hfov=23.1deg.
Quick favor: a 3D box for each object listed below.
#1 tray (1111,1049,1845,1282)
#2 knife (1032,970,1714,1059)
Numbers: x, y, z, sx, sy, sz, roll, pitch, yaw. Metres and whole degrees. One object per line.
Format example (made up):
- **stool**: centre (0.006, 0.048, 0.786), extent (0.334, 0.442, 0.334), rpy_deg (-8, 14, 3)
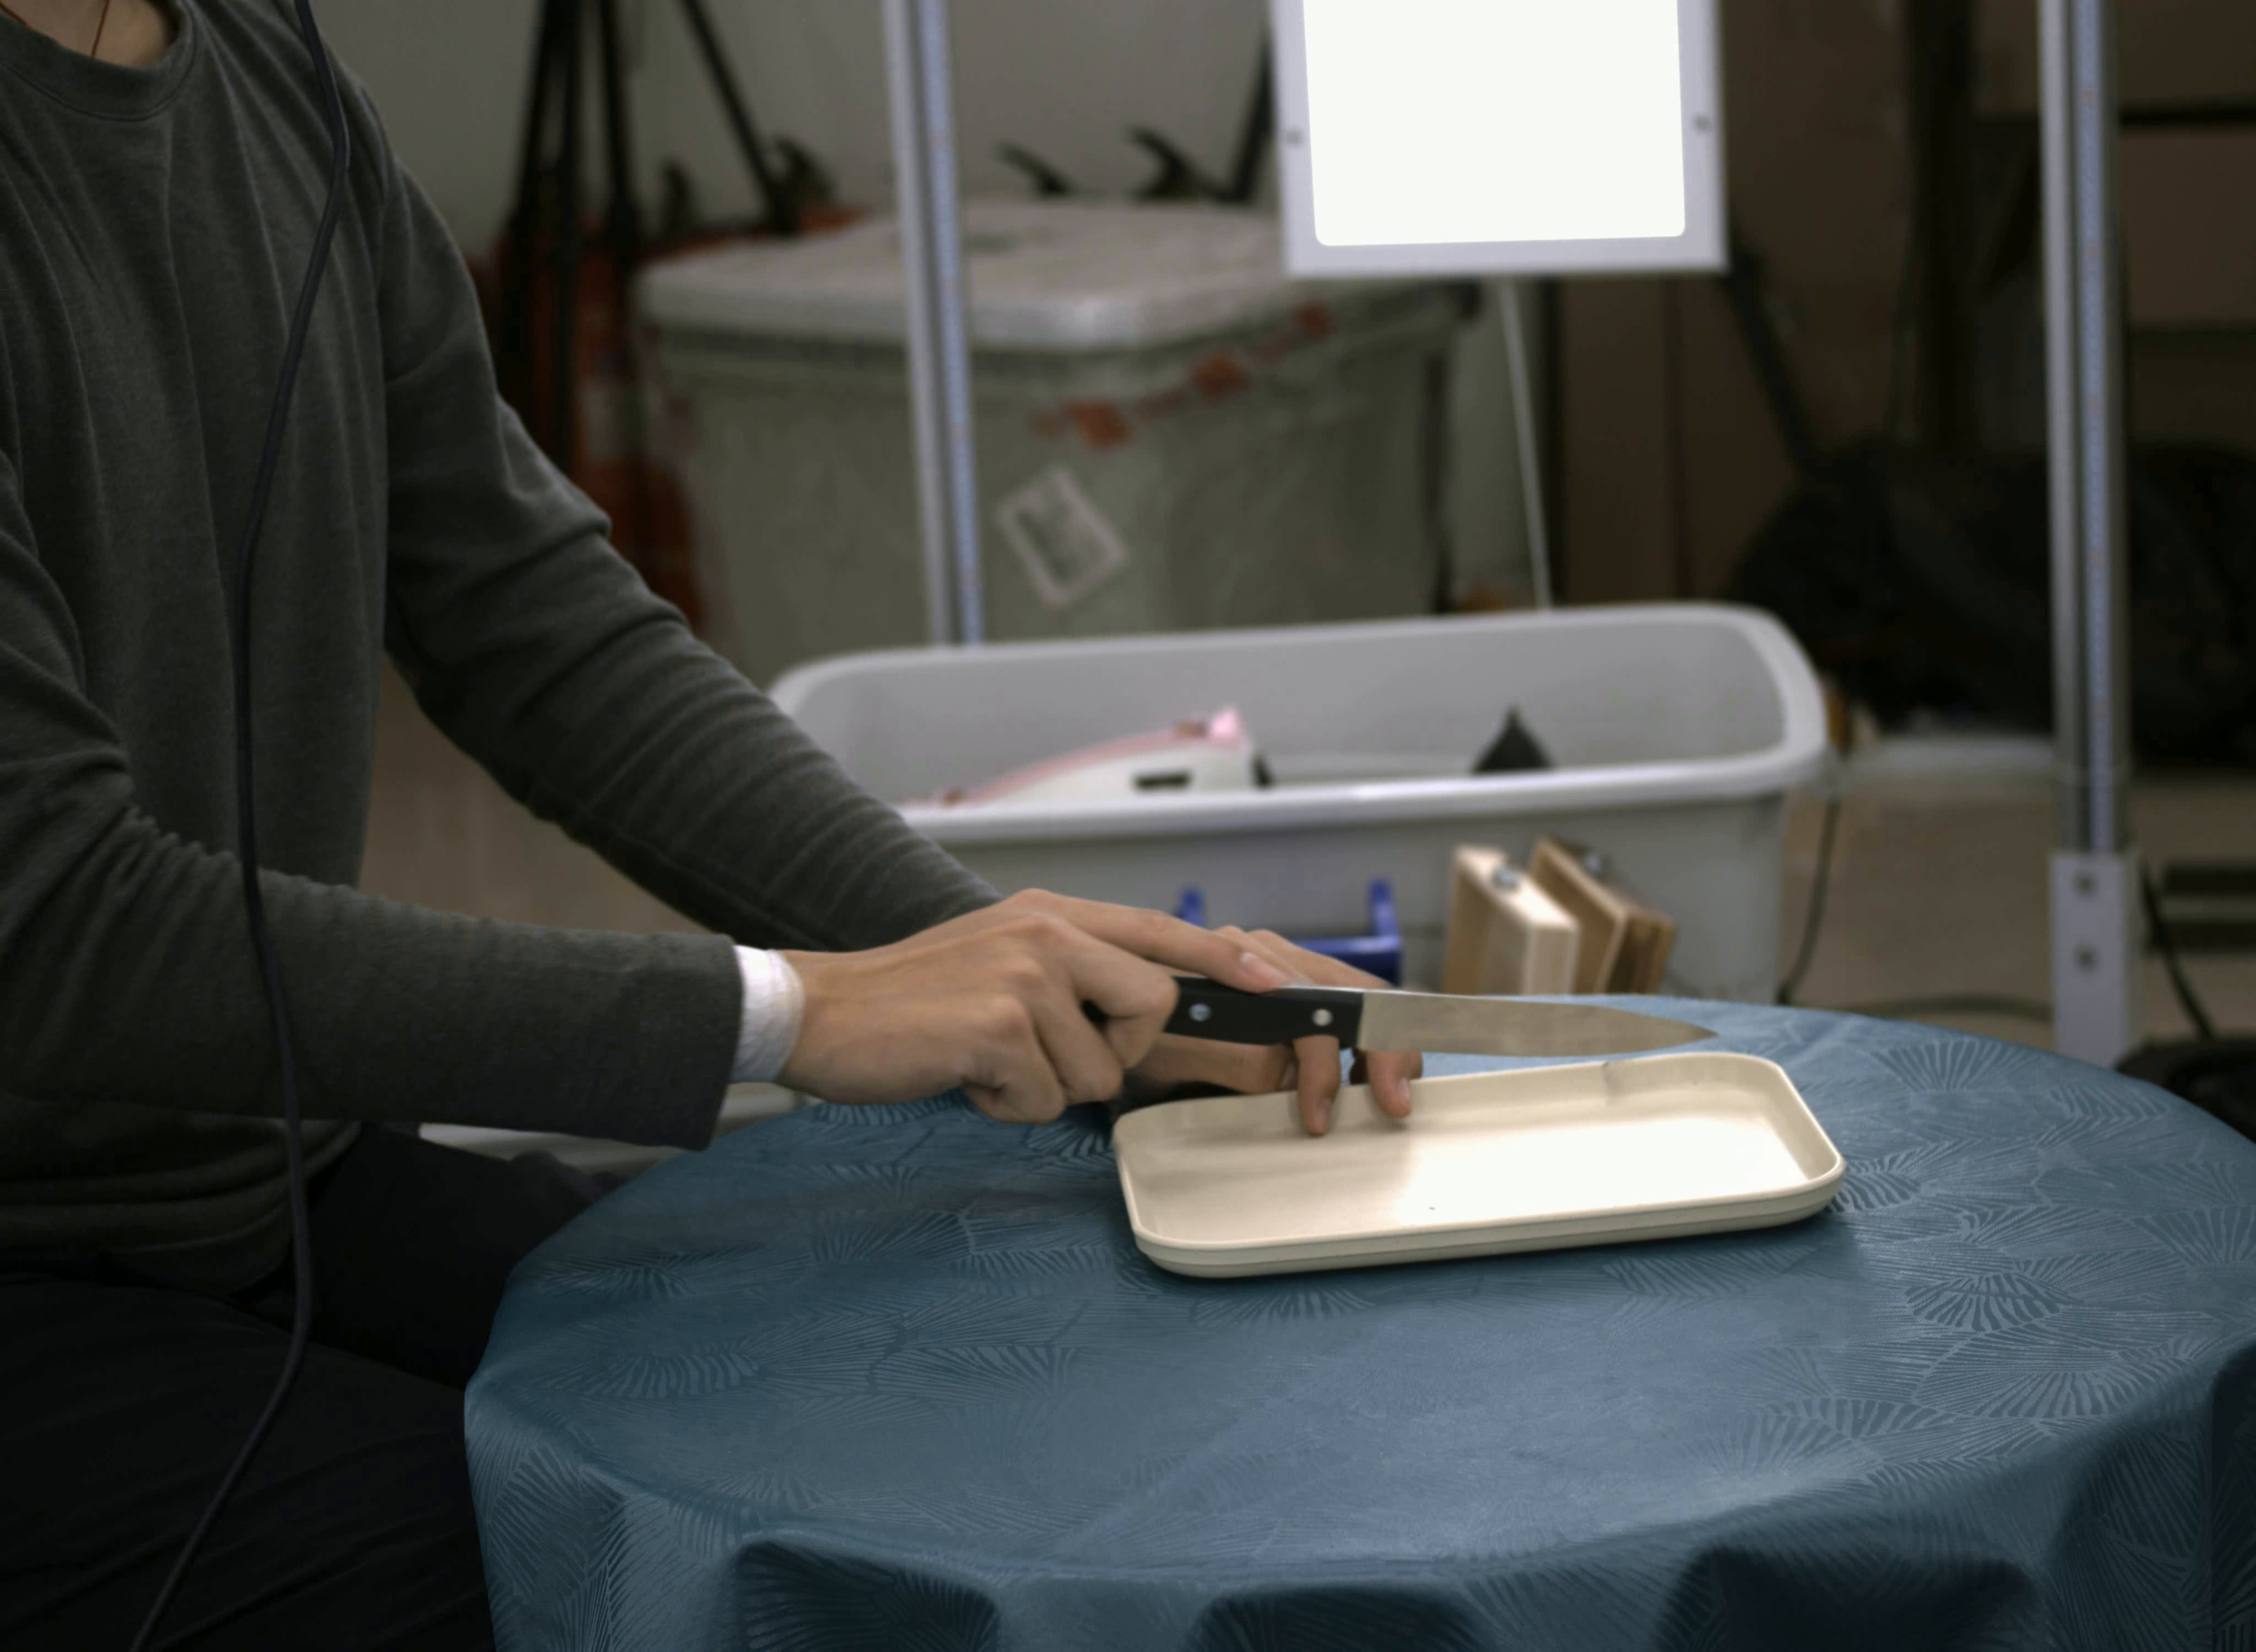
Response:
- **tray**: centre (0.117, 0.116, 1.869), extent (0.239, 0.017, 0.171), rpy_deg (-6, 14, 0)
- **knife**: centre (0.086, 0.065, 1.896), extent (0.237, 0.024, 0.016), rpy_deg (4, 19, -1)
